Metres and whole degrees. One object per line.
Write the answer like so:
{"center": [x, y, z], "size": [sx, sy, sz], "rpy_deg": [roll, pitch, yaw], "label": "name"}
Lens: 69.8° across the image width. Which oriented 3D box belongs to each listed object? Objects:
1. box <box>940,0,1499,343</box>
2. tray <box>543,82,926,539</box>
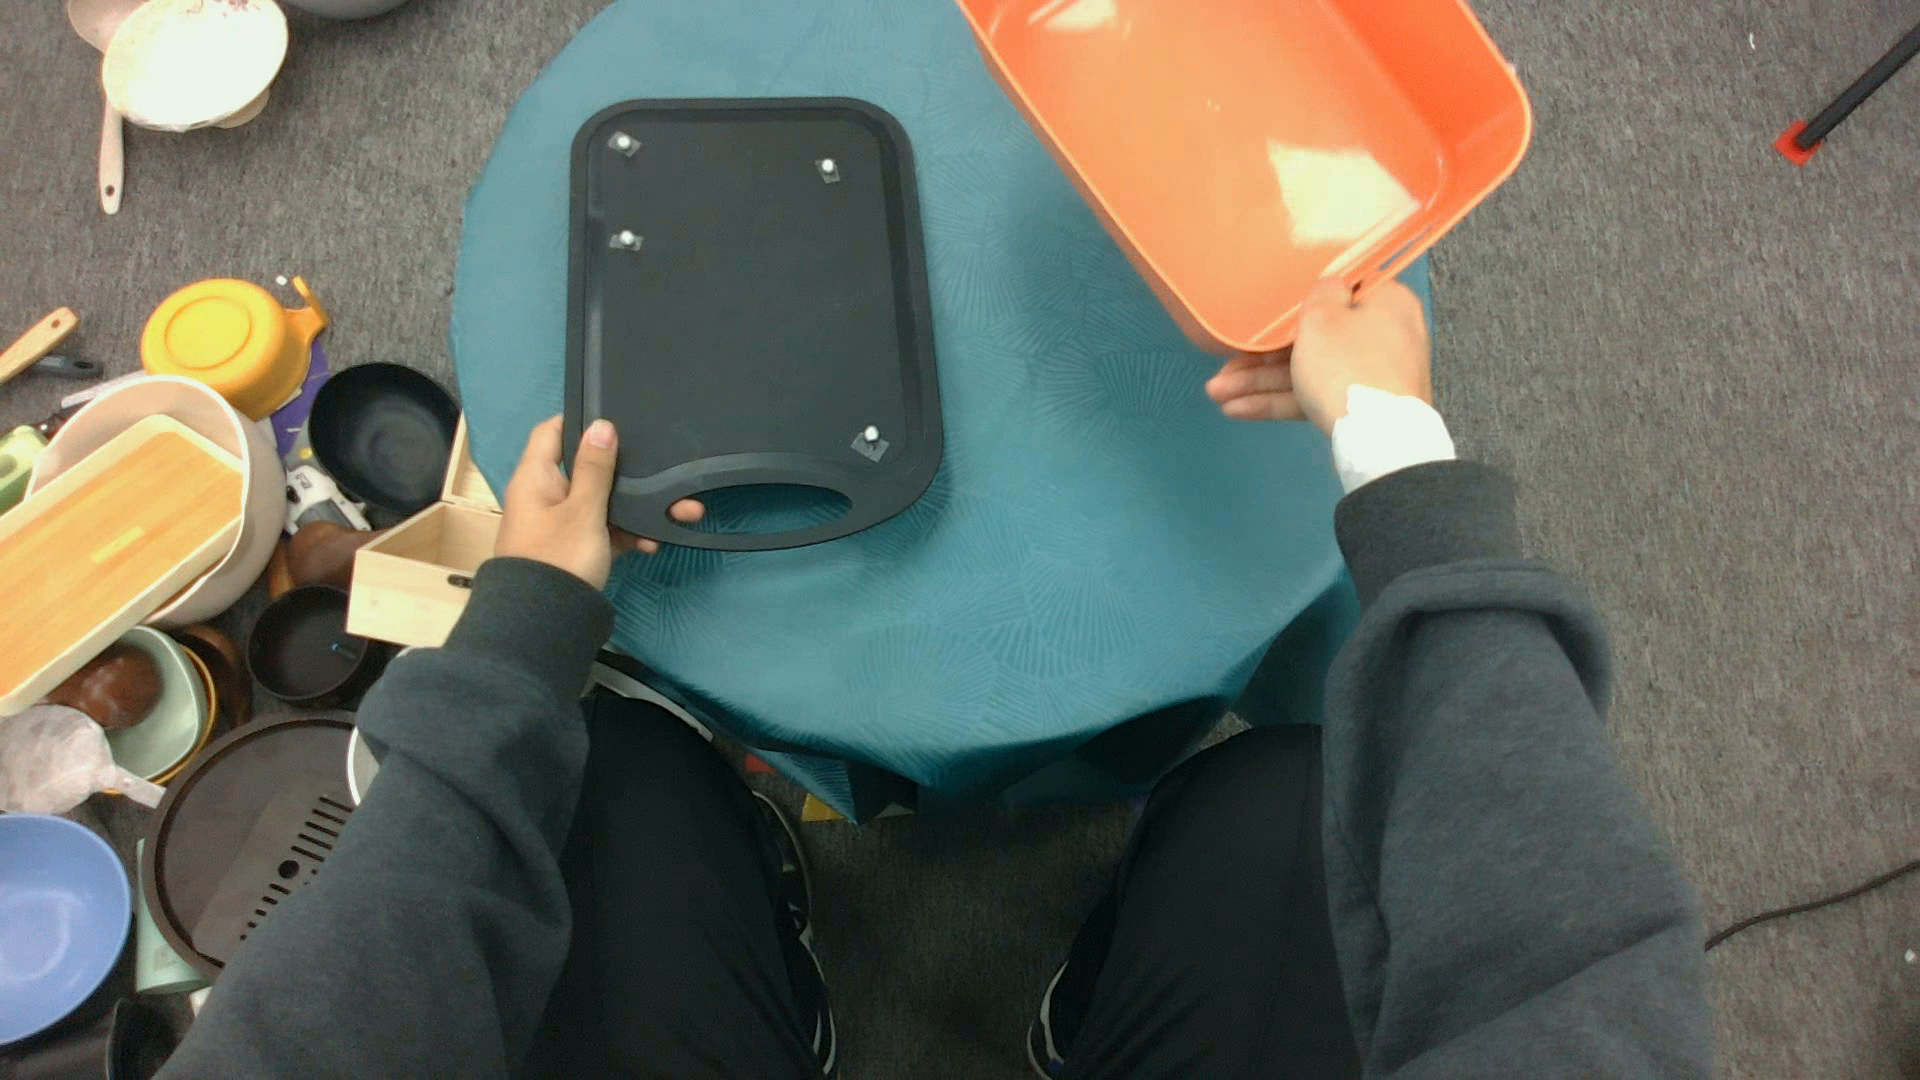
{"center": [0.124, -0.248, 0.728], "size": [0.199, 0.102, 0.273], "rpy_deg": [-36, 85, 0], "label": "box"}
{"center": [-0.133, -0.147, 0.805], "size": [0.211, 0.010, 0.326], "rpy_deg": [-3, 63, -8], "label": "tray"}
